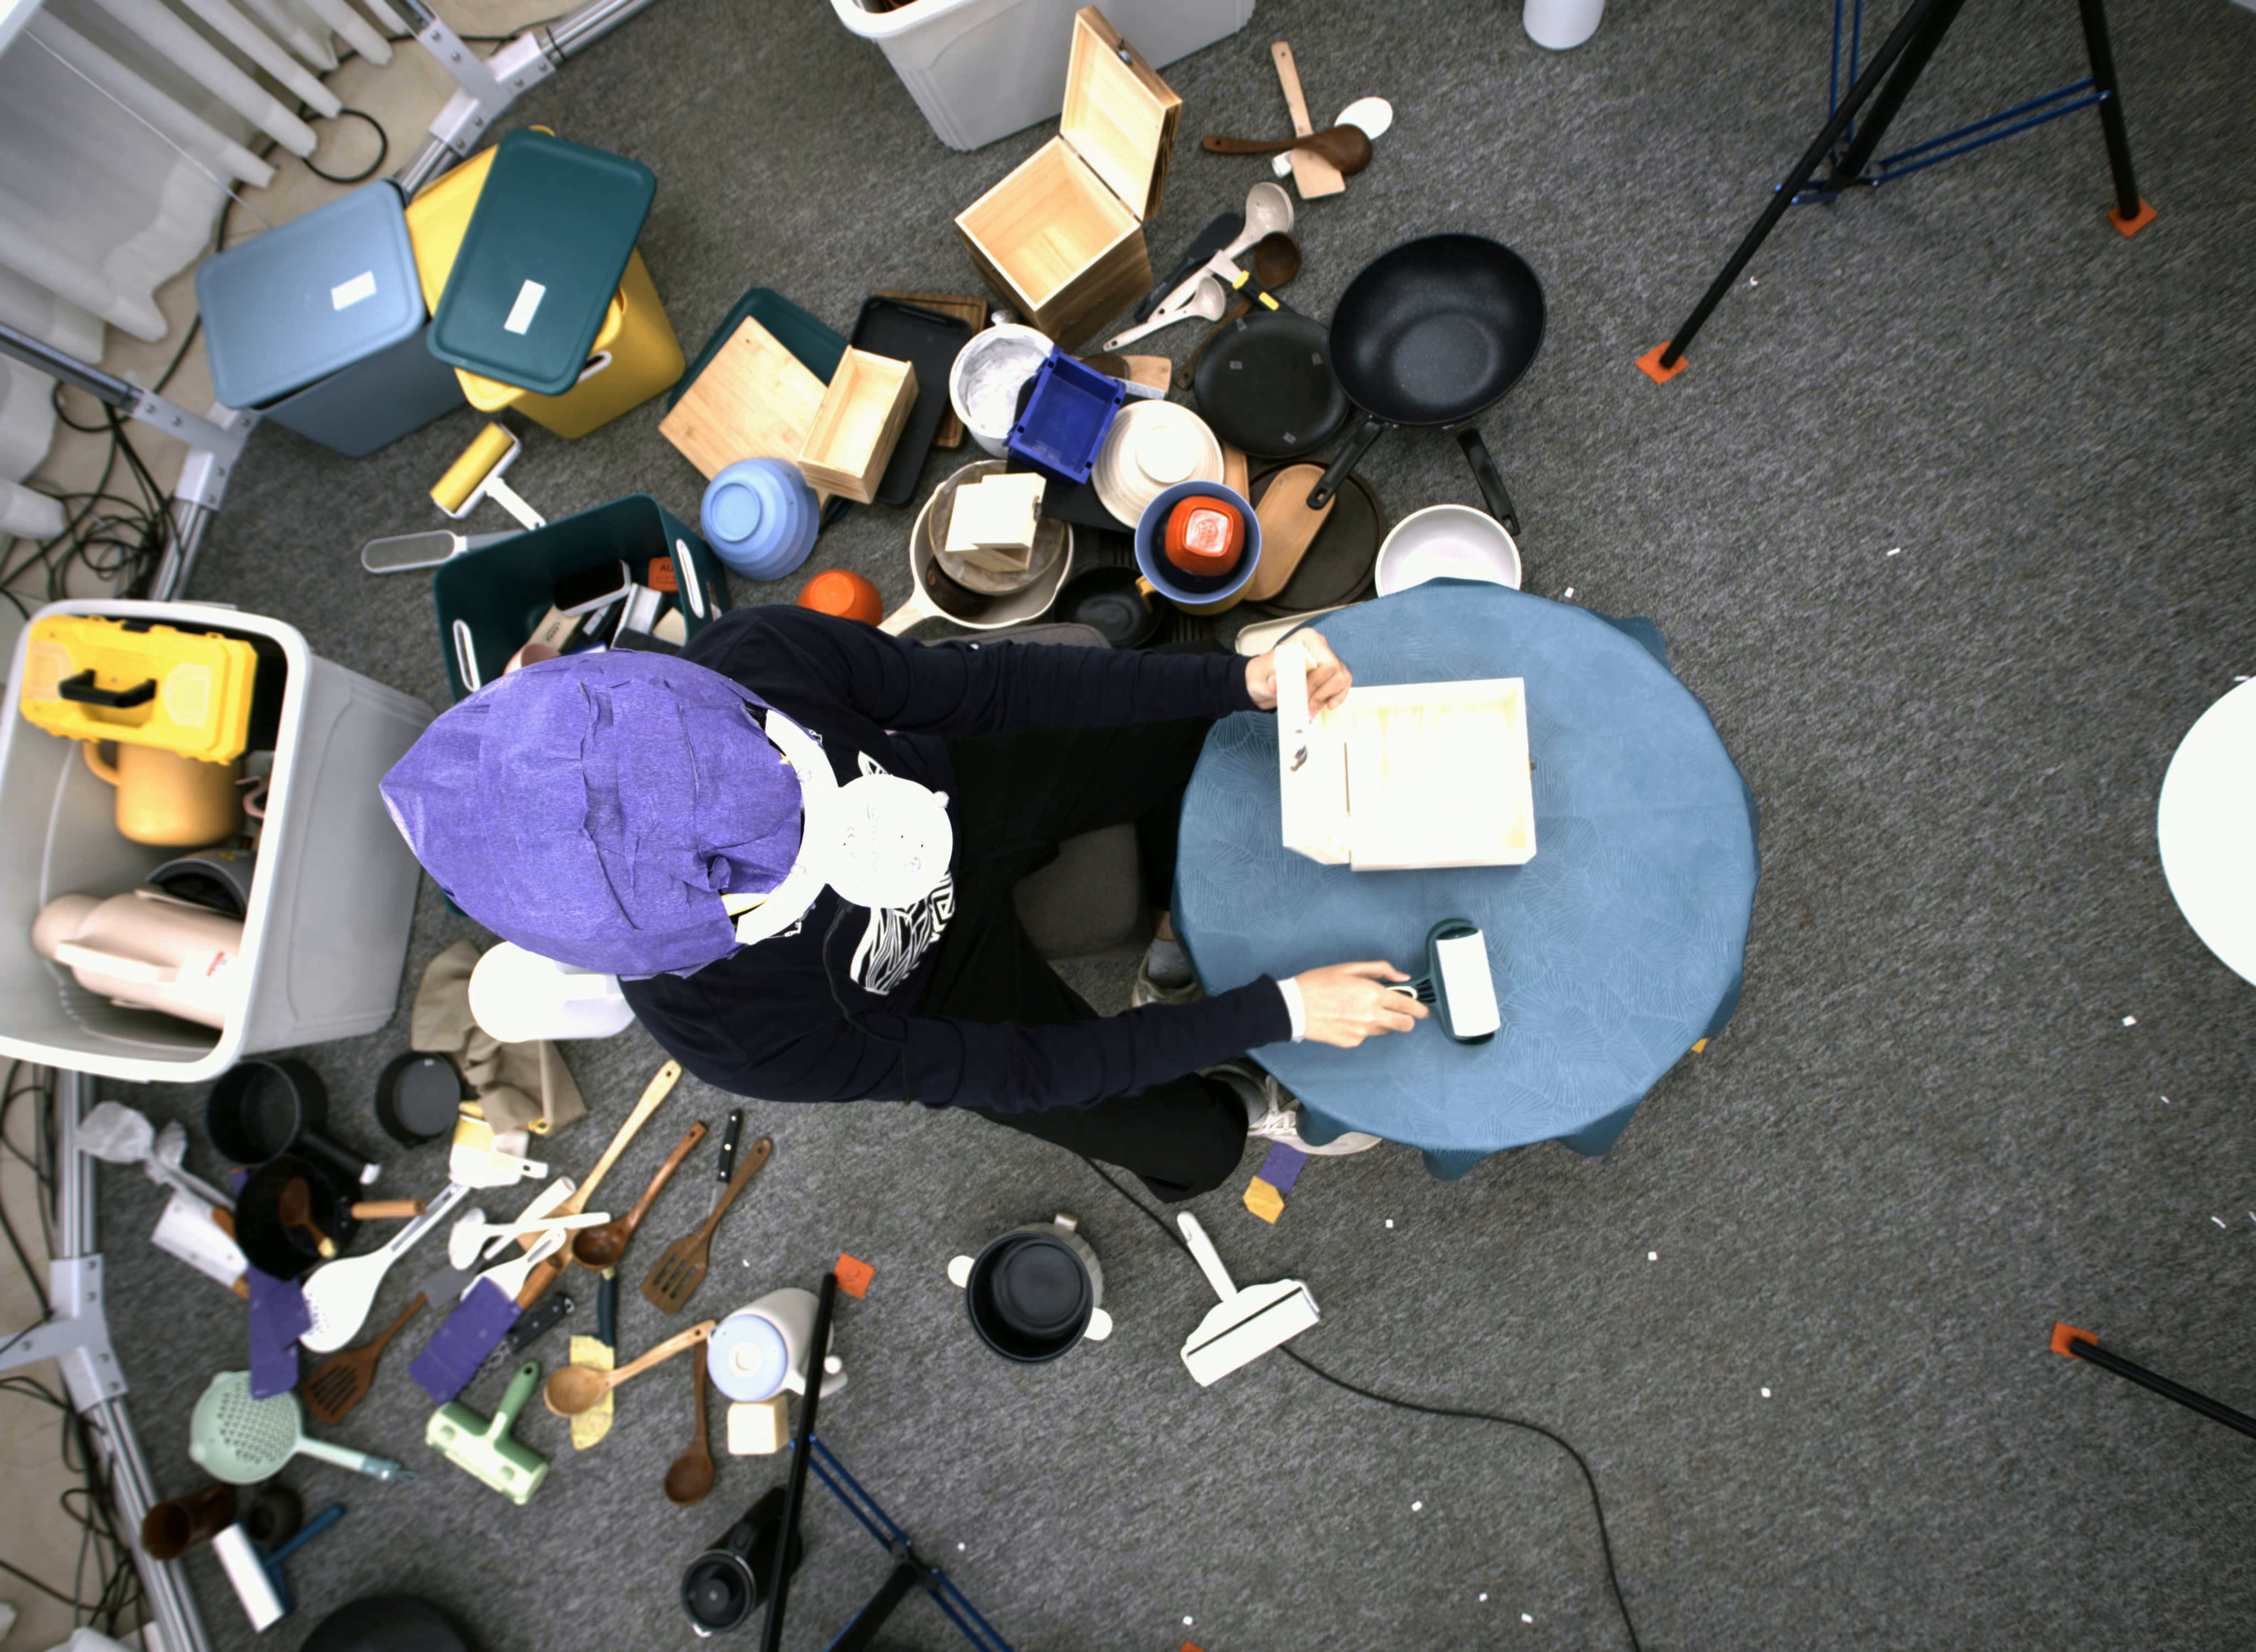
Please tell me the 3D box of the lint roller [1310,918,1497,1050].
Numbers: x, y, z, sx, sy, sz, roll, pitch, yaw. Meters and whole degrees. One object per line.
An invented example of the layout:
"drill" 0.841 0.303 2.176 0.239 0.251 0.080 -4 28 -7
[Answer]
"lint roller" 0.274 0.172 1.391 0.180 0.048 0.135 -14 98 1

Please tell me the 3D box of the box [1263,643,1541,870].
"box" 0.272 -0.066 1.329 0.266 0.254 0.180 -4 82 7
